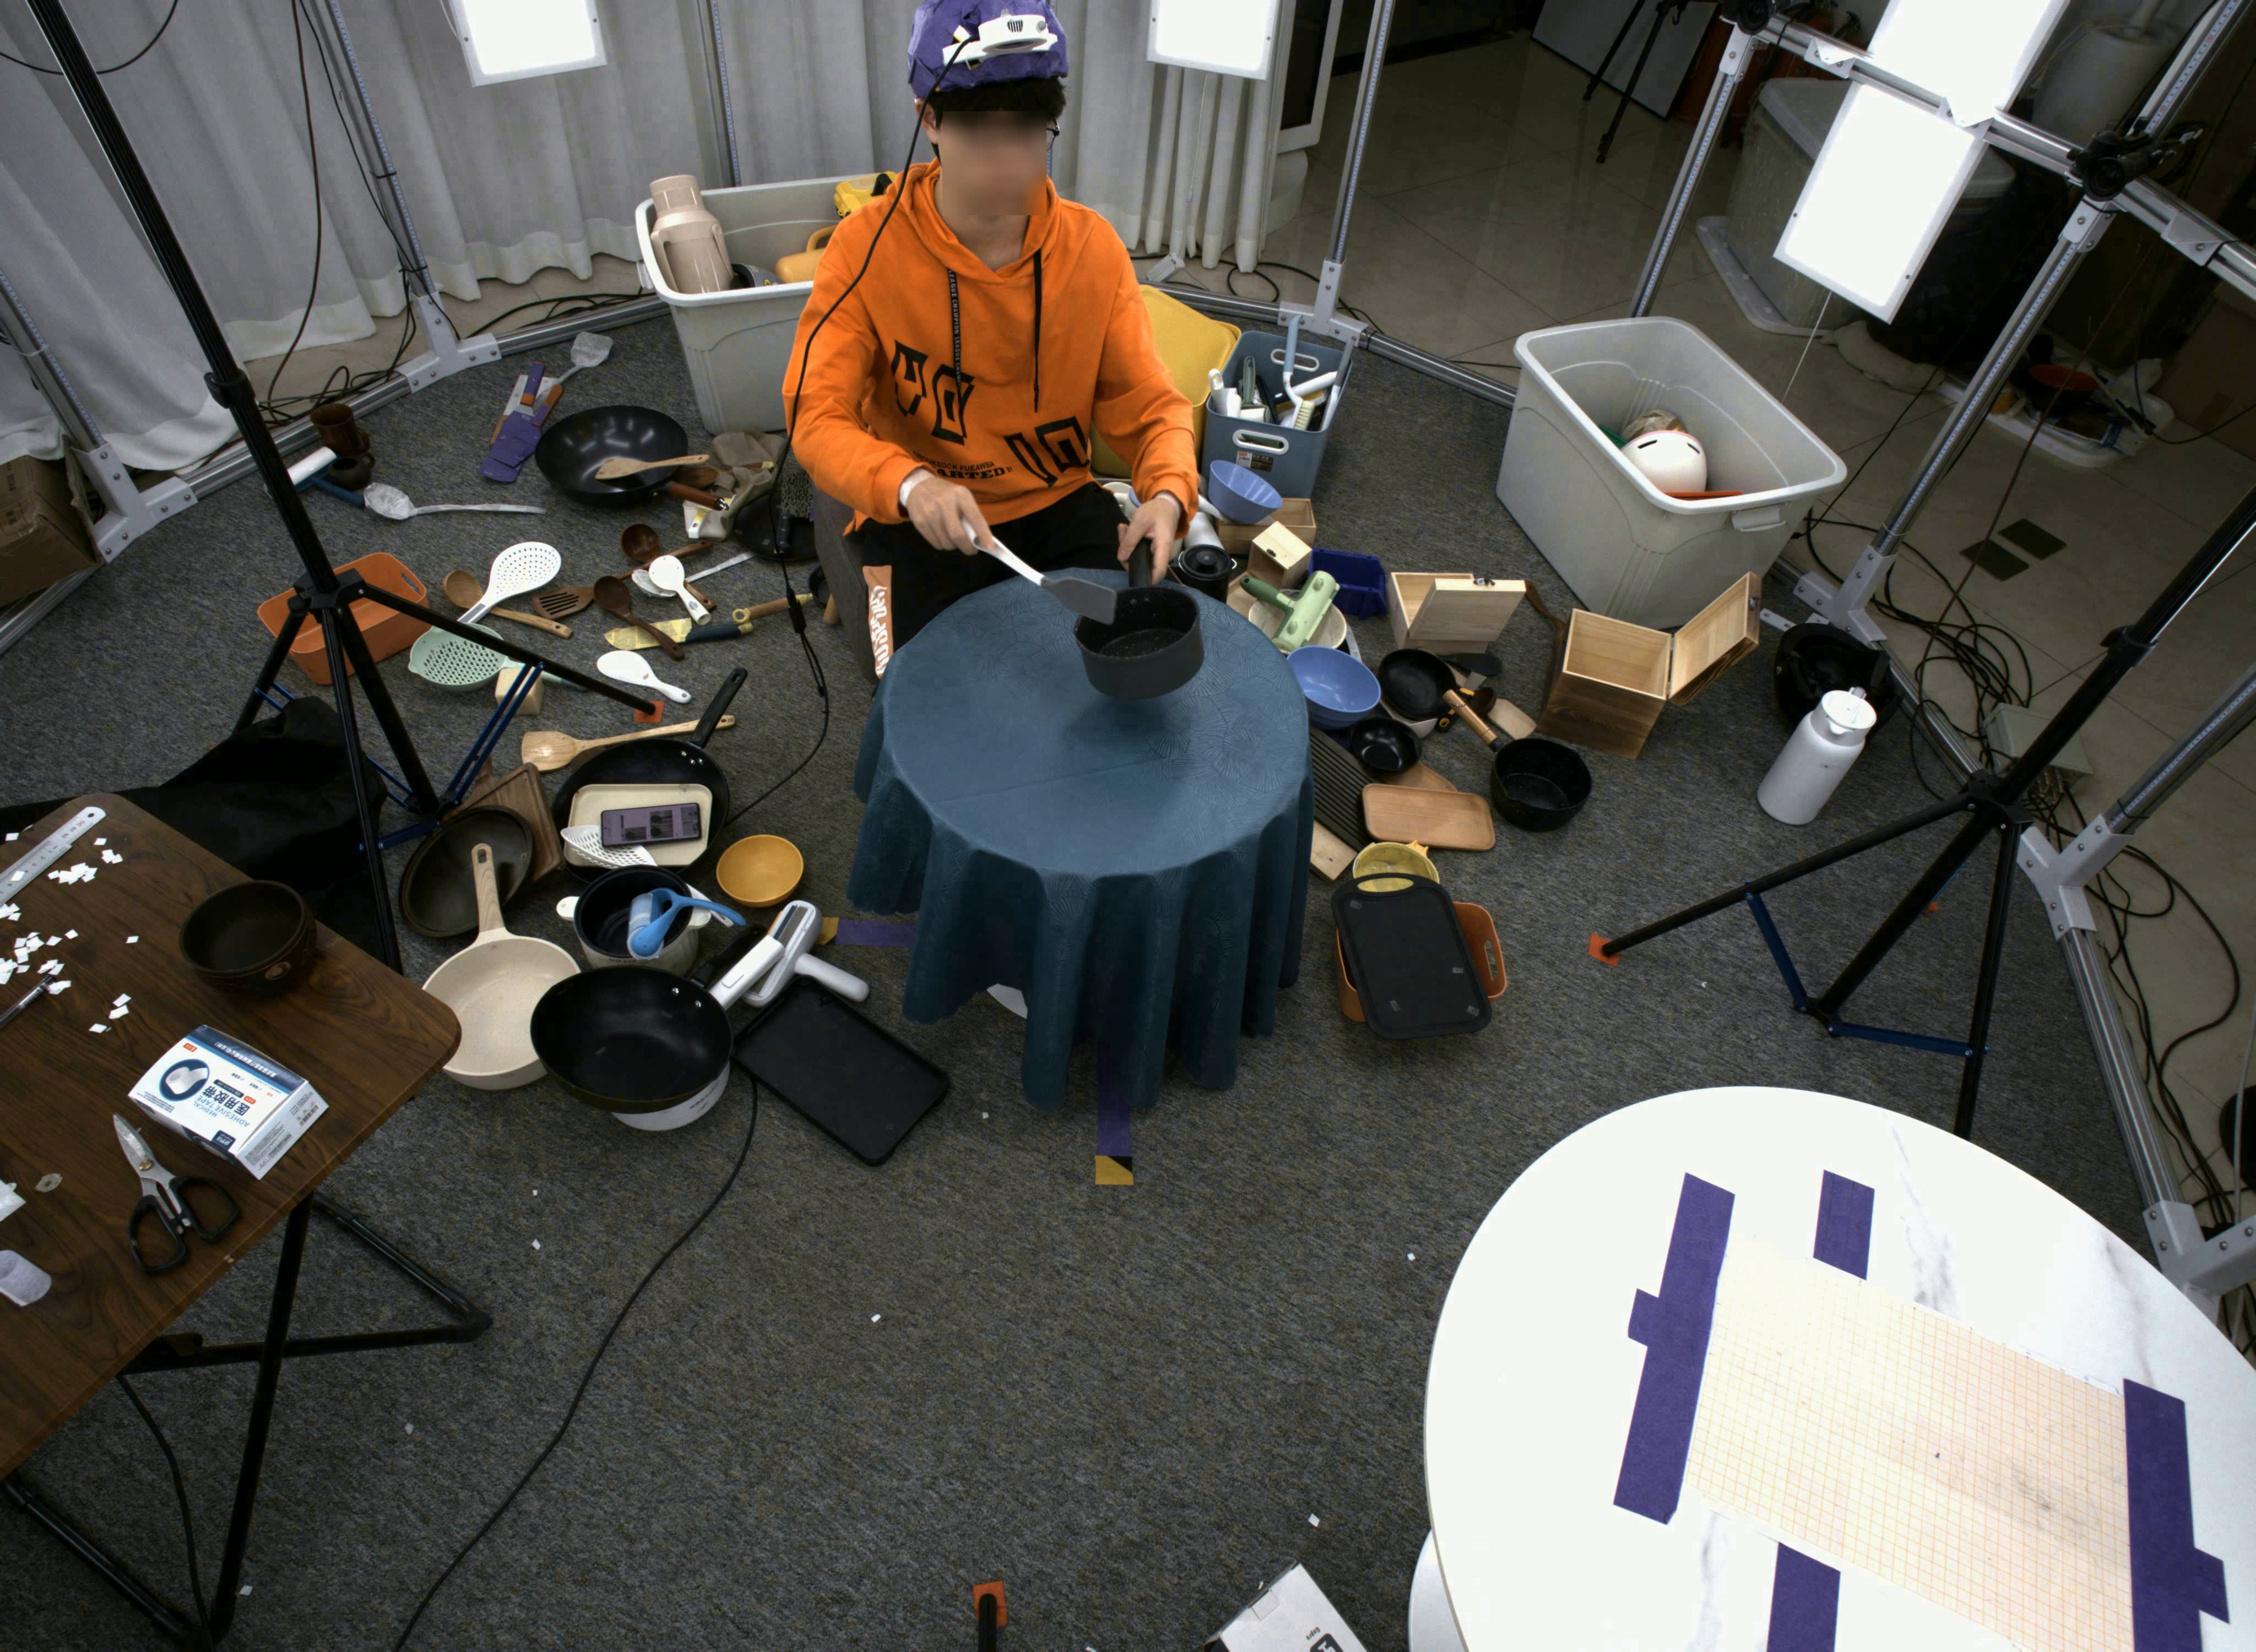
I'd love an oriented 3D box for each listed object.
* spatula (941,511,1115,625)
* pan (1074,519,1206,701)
[{"bbox_3d":[-0.132,-0.340,1.679,0.291,0.057,0.032,33,42,26],"label":"spatula"},{"bbox_3d":[0.023,-0.303,1.788,0.172,0.084,0.337,-5,43,10],"label":"pan"}]
